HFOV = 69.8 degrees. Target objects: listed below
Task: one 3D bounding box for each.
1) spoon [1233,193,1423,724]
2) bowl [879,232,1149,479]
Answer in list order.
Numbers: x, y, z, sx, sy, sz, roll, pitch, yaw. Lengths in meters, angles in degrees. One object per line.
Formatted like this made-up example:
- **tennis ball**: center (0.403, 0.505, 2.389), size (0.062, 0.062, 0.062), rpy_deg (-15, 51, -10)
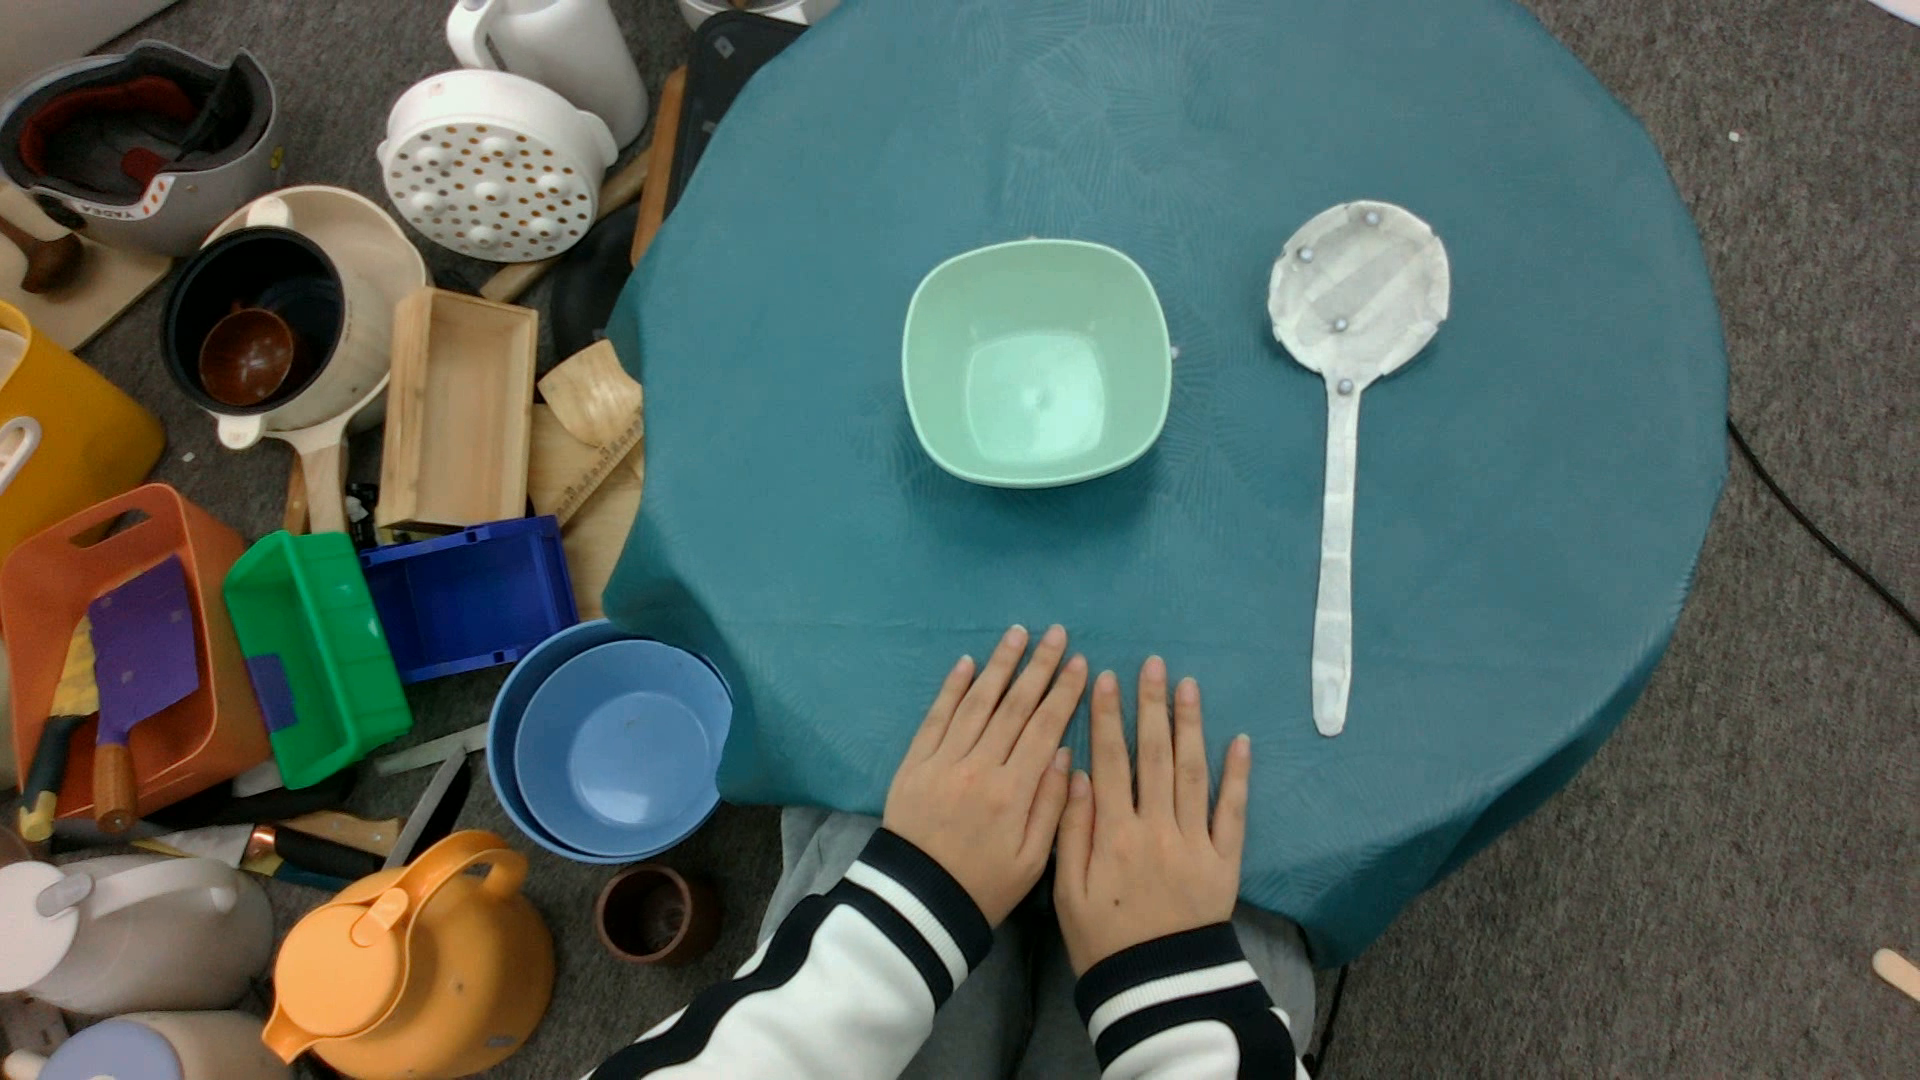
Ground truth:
- **spoon**: center (0.181, -0.046, 0.714), size (0.100, 0.059, 0.278), rpy_deg (7, 72, 10)
- **bowl**: center (0.028, -0.090, 0.735), size (0.151, 0.058, 0.152), rpy_deg (0, 71, 1)
